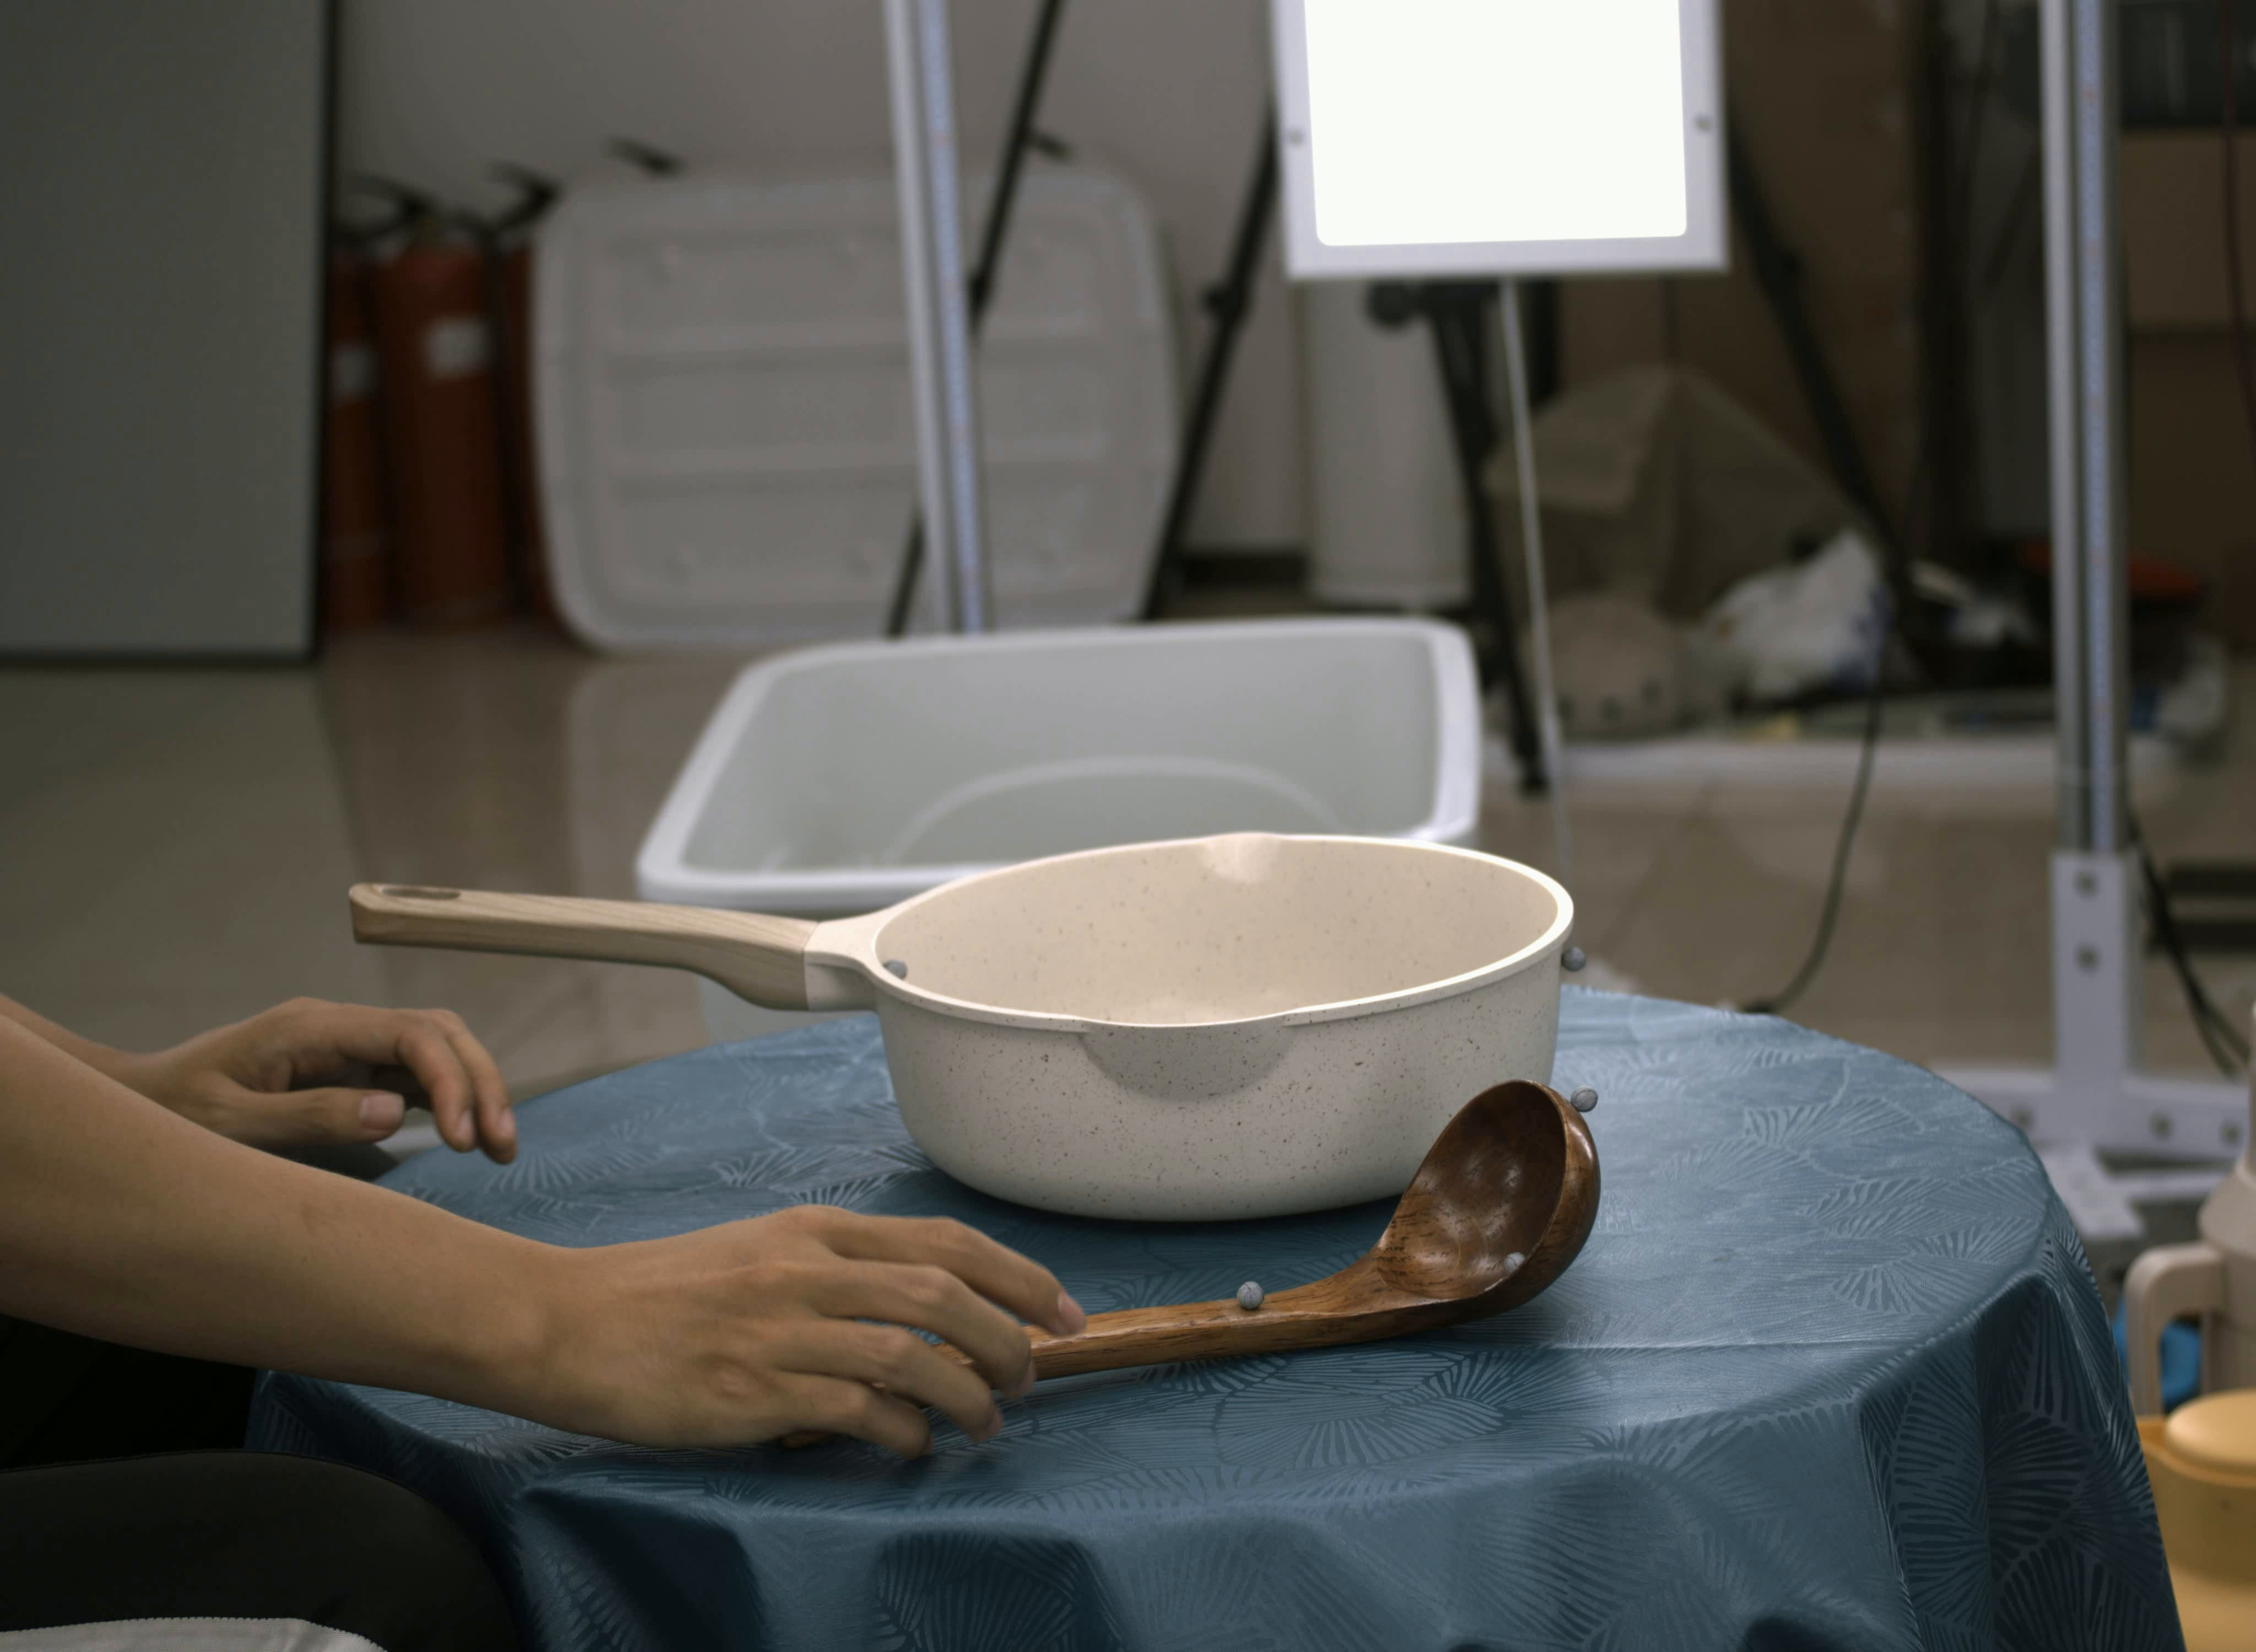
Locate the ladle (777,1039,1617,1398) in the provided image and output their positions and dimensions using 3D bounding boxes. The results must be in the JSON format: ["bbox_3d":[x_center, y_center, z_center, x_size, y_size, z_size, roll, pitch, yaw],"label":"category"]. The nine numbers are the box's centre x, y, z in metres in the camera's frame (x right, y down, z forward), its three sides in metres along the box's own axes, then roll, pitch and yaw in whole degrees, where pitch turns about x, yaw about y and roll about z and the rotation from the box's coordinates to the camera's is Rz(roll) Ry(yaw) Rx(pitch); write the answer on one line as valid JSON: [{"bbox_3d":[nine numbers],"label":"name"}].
[{"bbox_3d":[0.023,0.121,1.716,0.270,0.077,0.082,-8,19,-14],"label":"ladle"}]

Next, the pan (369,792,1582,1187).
[{"bbox_3d":[-0.053,0.057,1.967,0.437,0.102,0.261,-3,15,8],"label":"pan"}]
